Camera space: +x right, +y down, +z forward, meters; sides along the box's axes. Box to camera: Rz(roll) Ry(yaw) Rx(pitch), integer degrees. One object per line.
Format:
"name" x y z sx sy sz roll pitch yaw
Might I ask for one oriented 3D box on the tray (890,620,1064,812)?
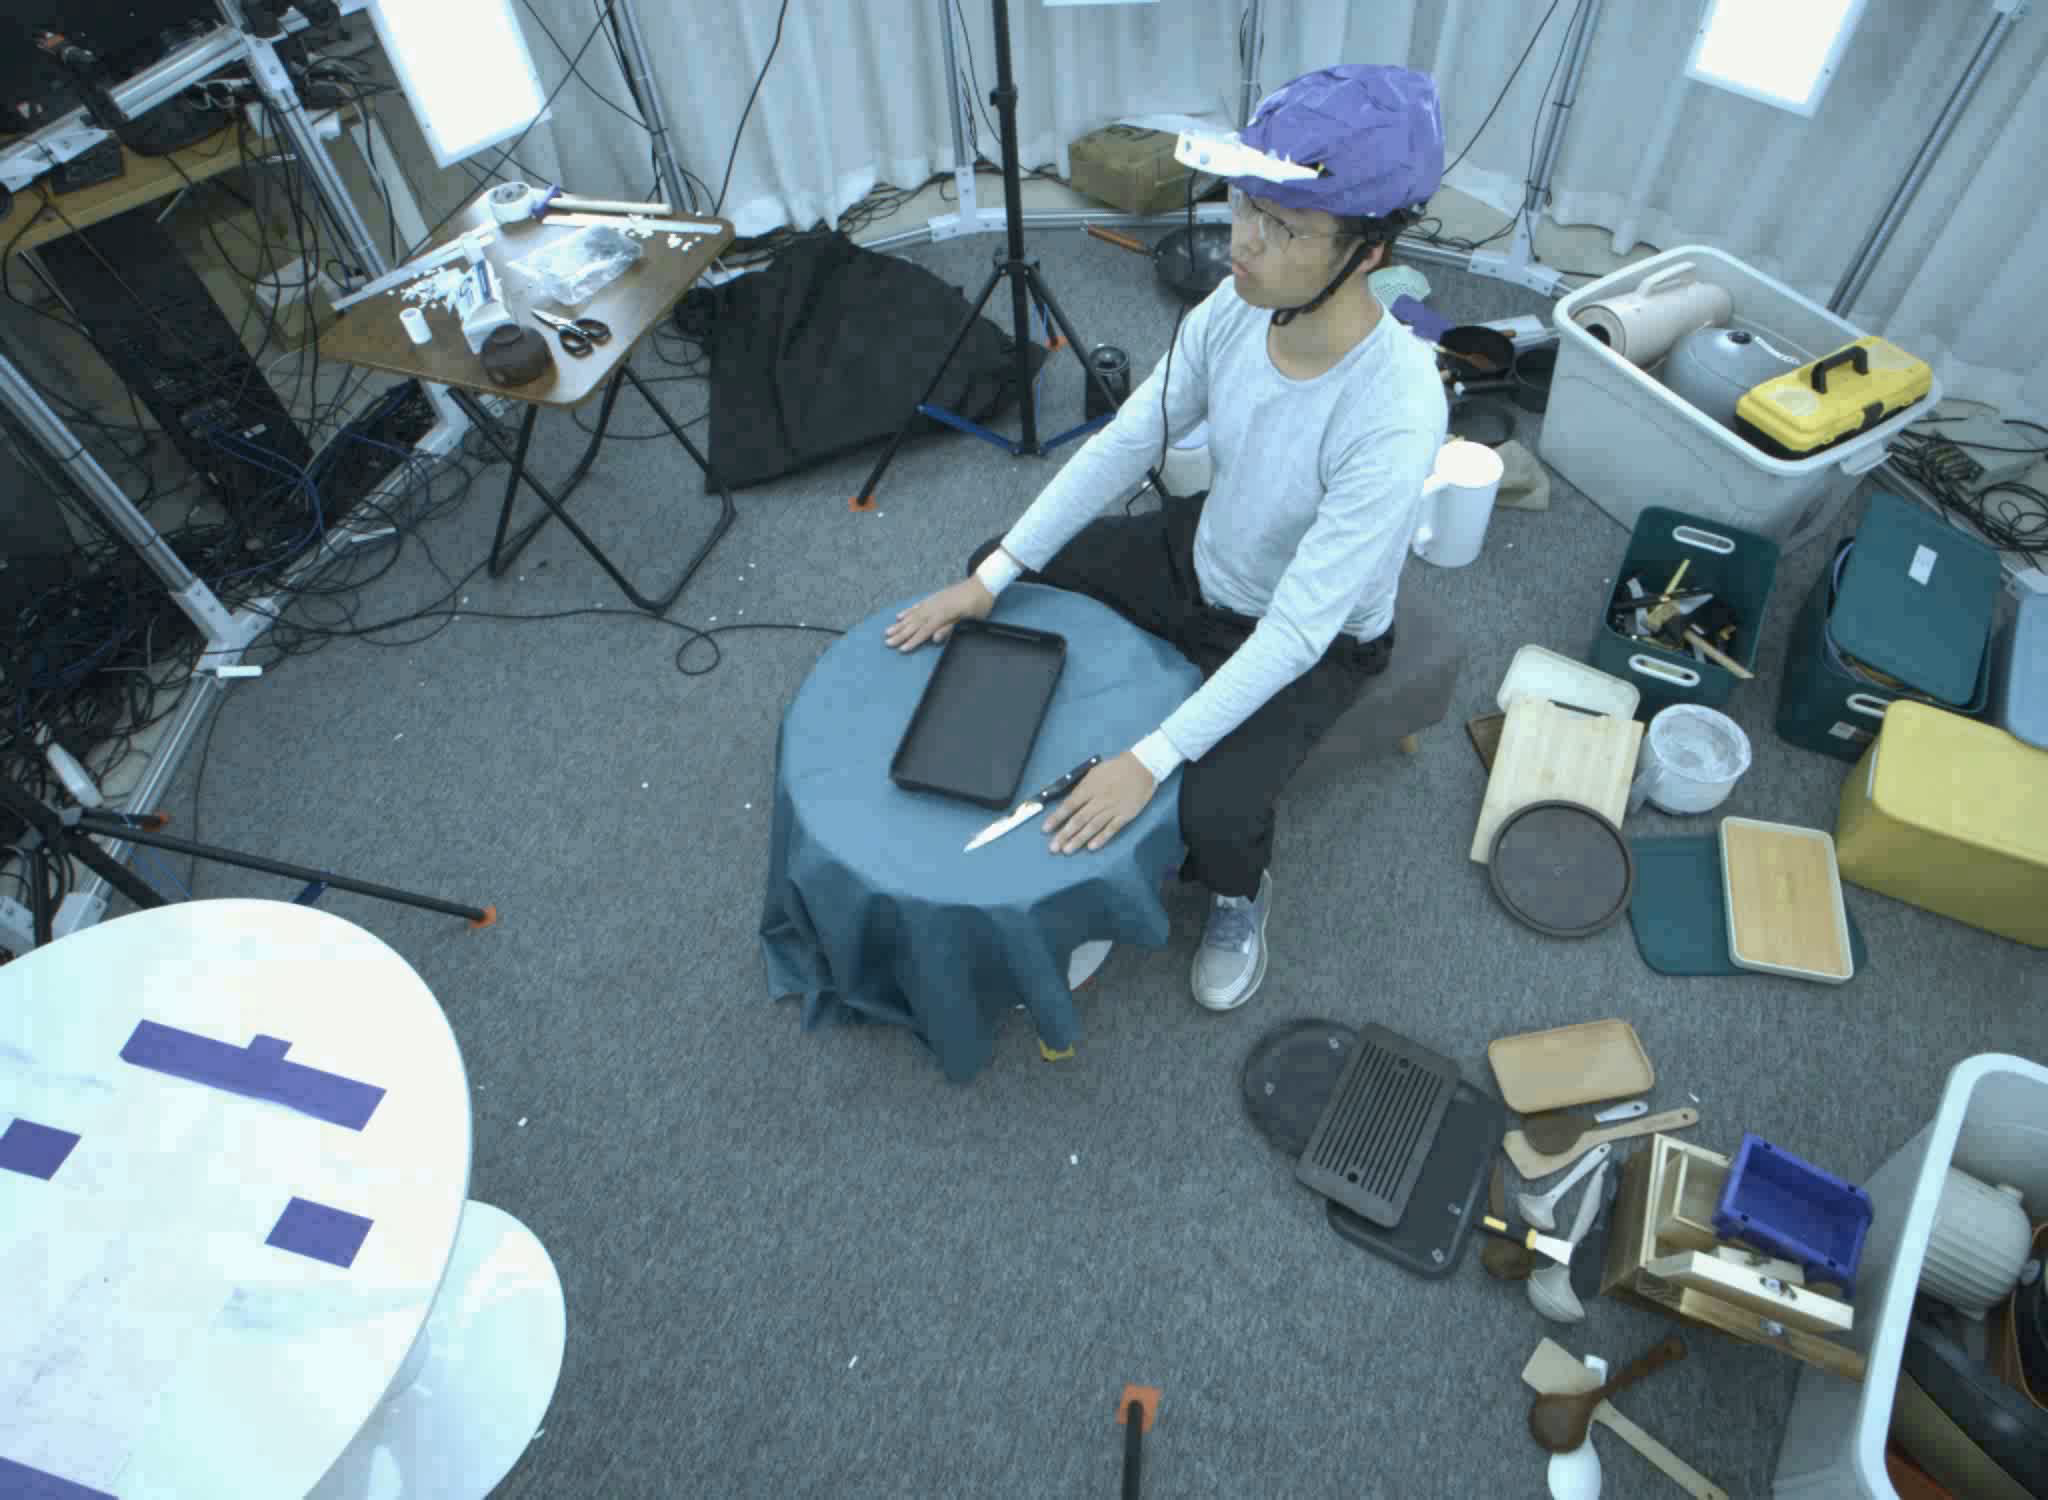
"tray" -0.064 -0.057 1.815 0.183 0.037 0.317 12 55 10

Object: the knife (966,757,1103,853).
"knife" 0.013 0.076 1.733 0.240 0.016 0.024 -34 61 -18
